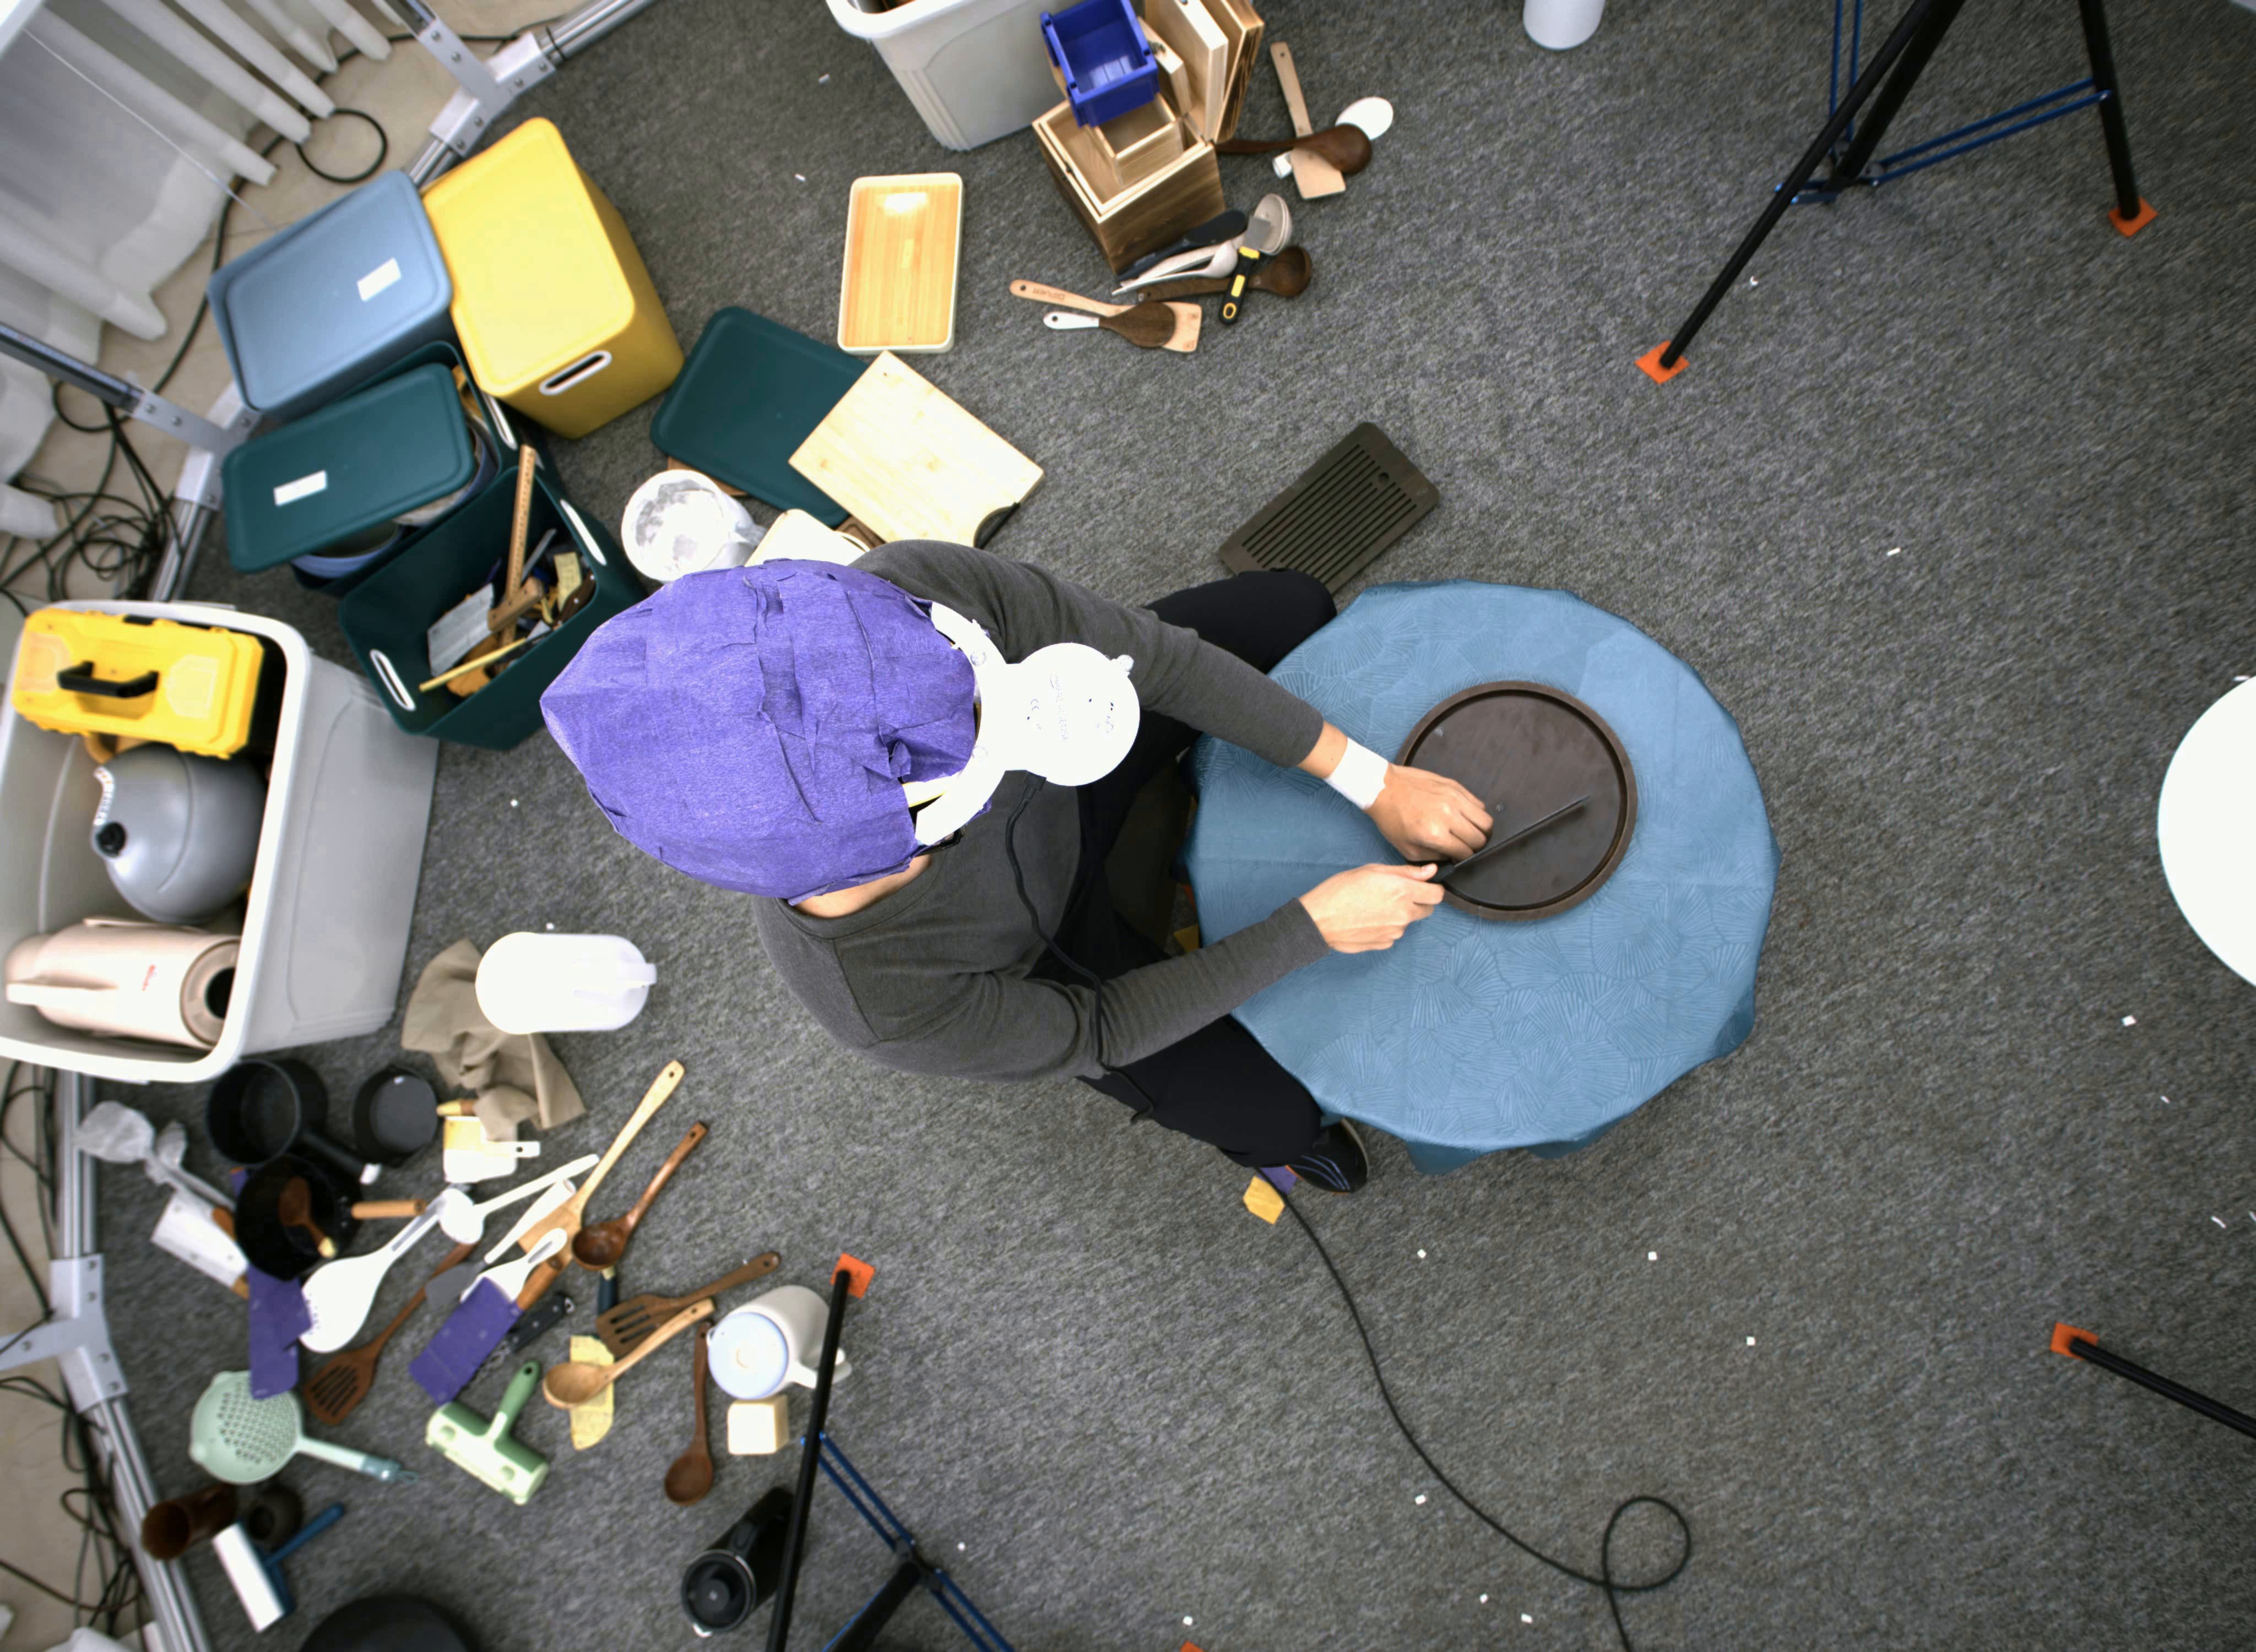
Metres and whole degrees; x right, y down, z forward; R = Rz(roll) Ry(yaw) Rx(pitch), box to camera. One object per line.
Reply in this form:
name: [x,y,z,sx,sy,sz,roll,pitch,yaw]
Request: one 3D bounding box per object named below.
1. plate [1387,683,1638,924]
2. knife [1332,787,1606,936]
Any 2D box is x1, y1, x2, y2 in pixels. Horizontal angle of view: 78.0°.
plate: [0.398,-0.027,1.430,0.256,0.029,0.254,-1,88,10]
knife: [0.341,0.032,1.380,0.303,0.081,0.020,-27,79,1]
